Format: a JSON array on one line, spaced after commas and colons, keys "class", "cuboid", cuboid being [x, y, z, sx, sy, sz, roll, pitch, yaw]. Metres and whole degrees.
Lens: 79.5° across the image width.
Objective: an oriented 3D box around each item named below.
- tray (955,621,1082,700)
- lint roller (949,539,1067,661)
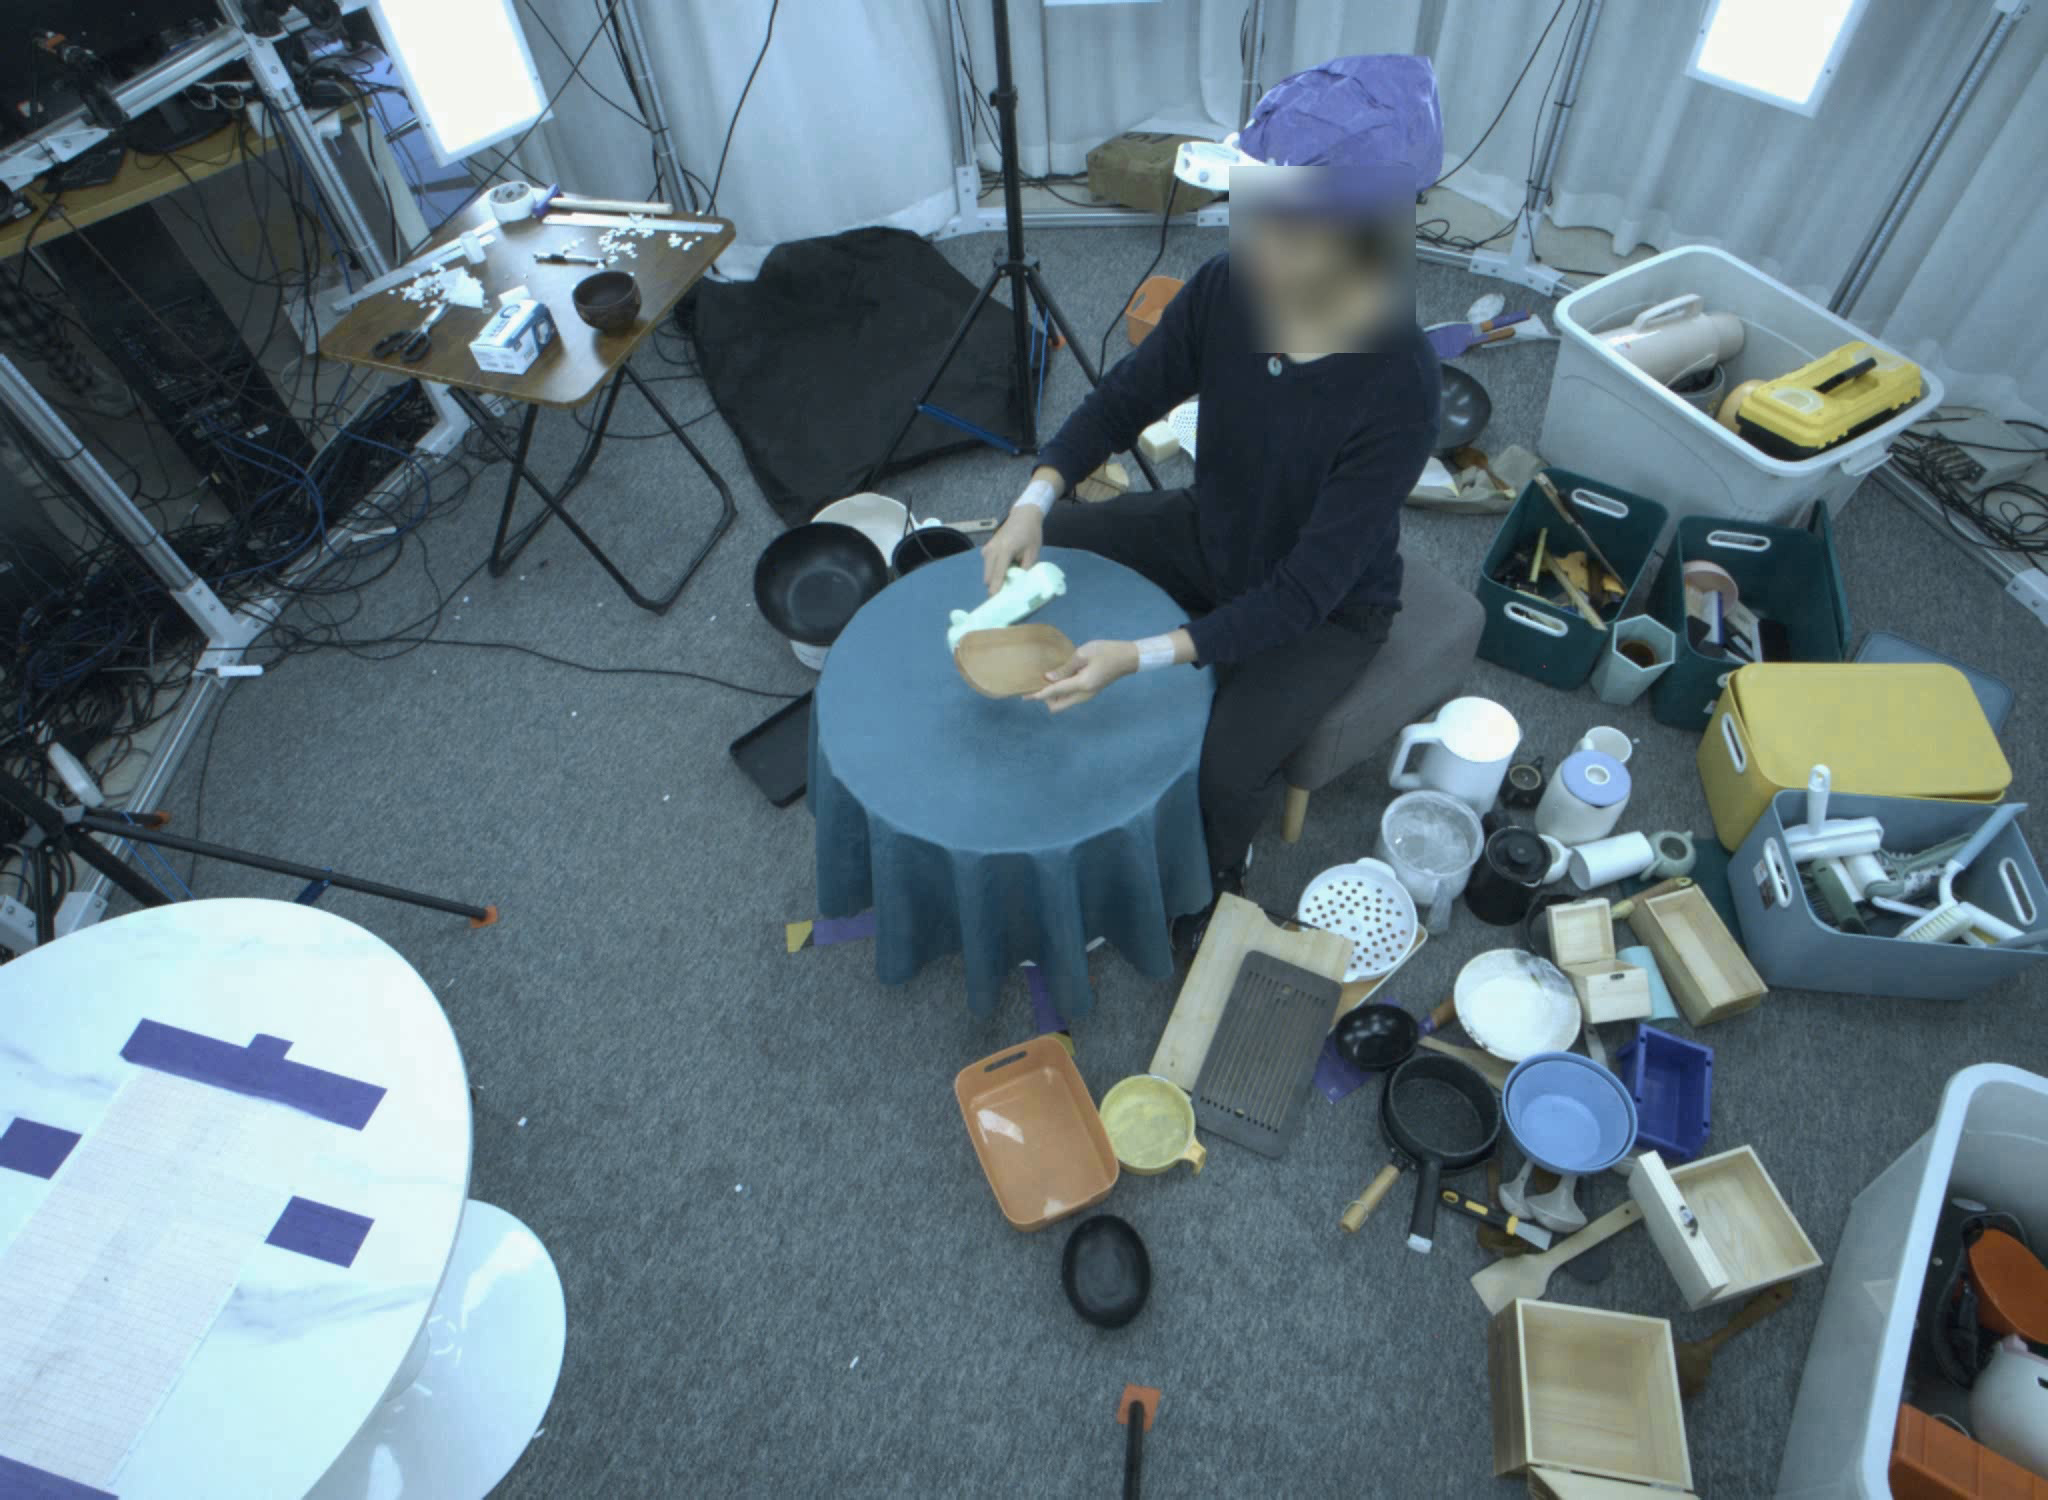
[{"class": "tray", "cuboid": [-0.005, -0.120, 1.639, 0.235, 0.020, 0.101, -14, 75, -51]}, {"class": "lint roller", "cuboid": [-0.037, -0.243, 1.752, 0.196, 0.084, 0.181, -31, 53, 32]}]
